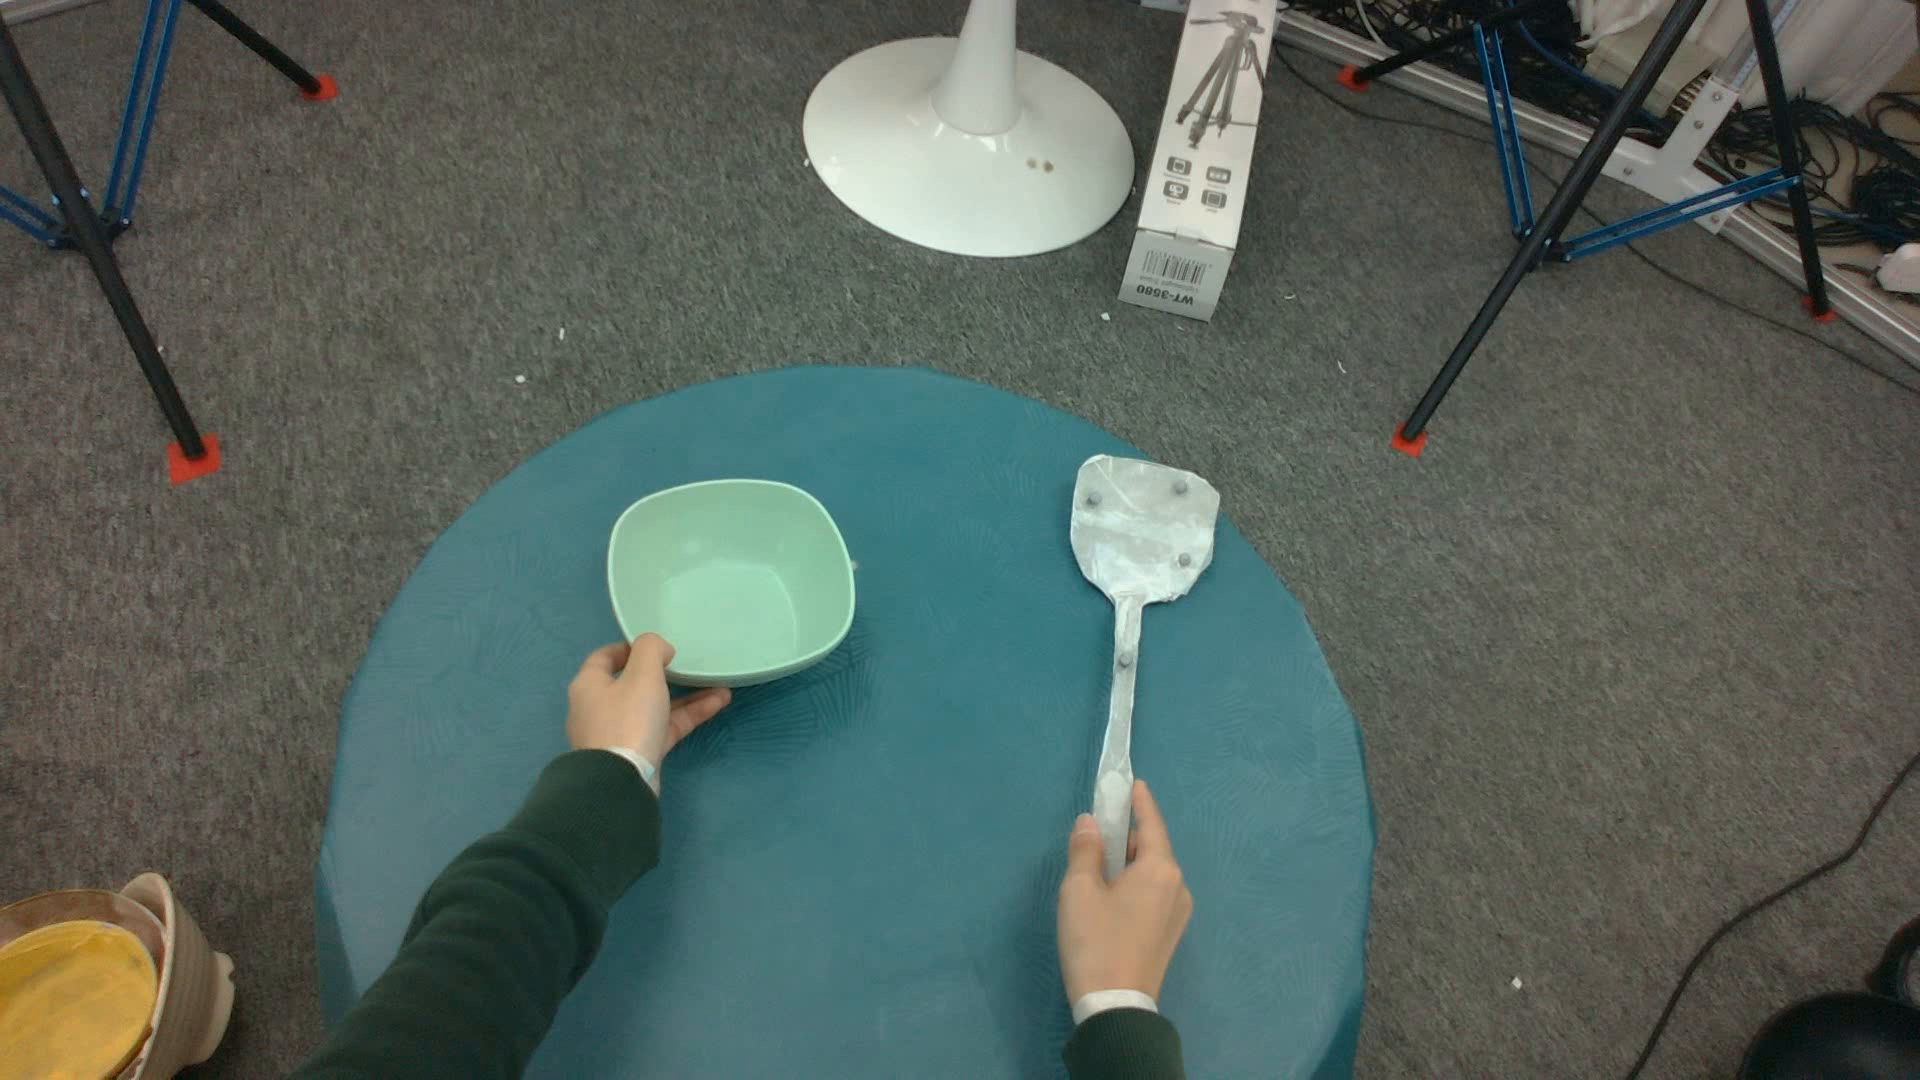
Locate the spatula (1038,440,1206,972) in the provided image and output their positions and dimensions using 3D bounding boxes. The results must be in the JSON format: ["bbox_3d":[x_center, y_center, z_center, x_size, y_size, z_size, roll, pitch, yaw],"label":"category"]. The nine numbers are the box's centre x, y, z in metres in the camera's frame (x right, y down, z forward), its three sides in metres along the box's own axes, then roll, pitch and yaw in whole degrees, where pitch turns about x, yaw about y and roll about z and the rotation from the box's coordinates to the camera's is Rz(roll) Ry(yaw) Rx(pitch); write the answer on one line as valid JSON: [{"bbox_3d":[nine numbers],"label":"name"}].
[{"bbox_3d":[0.087,0.082,0.822,0.099,0.044,0.367,15,48,-2],"label":"spatula"}]

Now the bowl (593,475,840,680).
[{"bbox_3d":[-0.144,0.031,0.813,0.151,0.058,0.152,7,49,-8],"label":"bowl"}]
